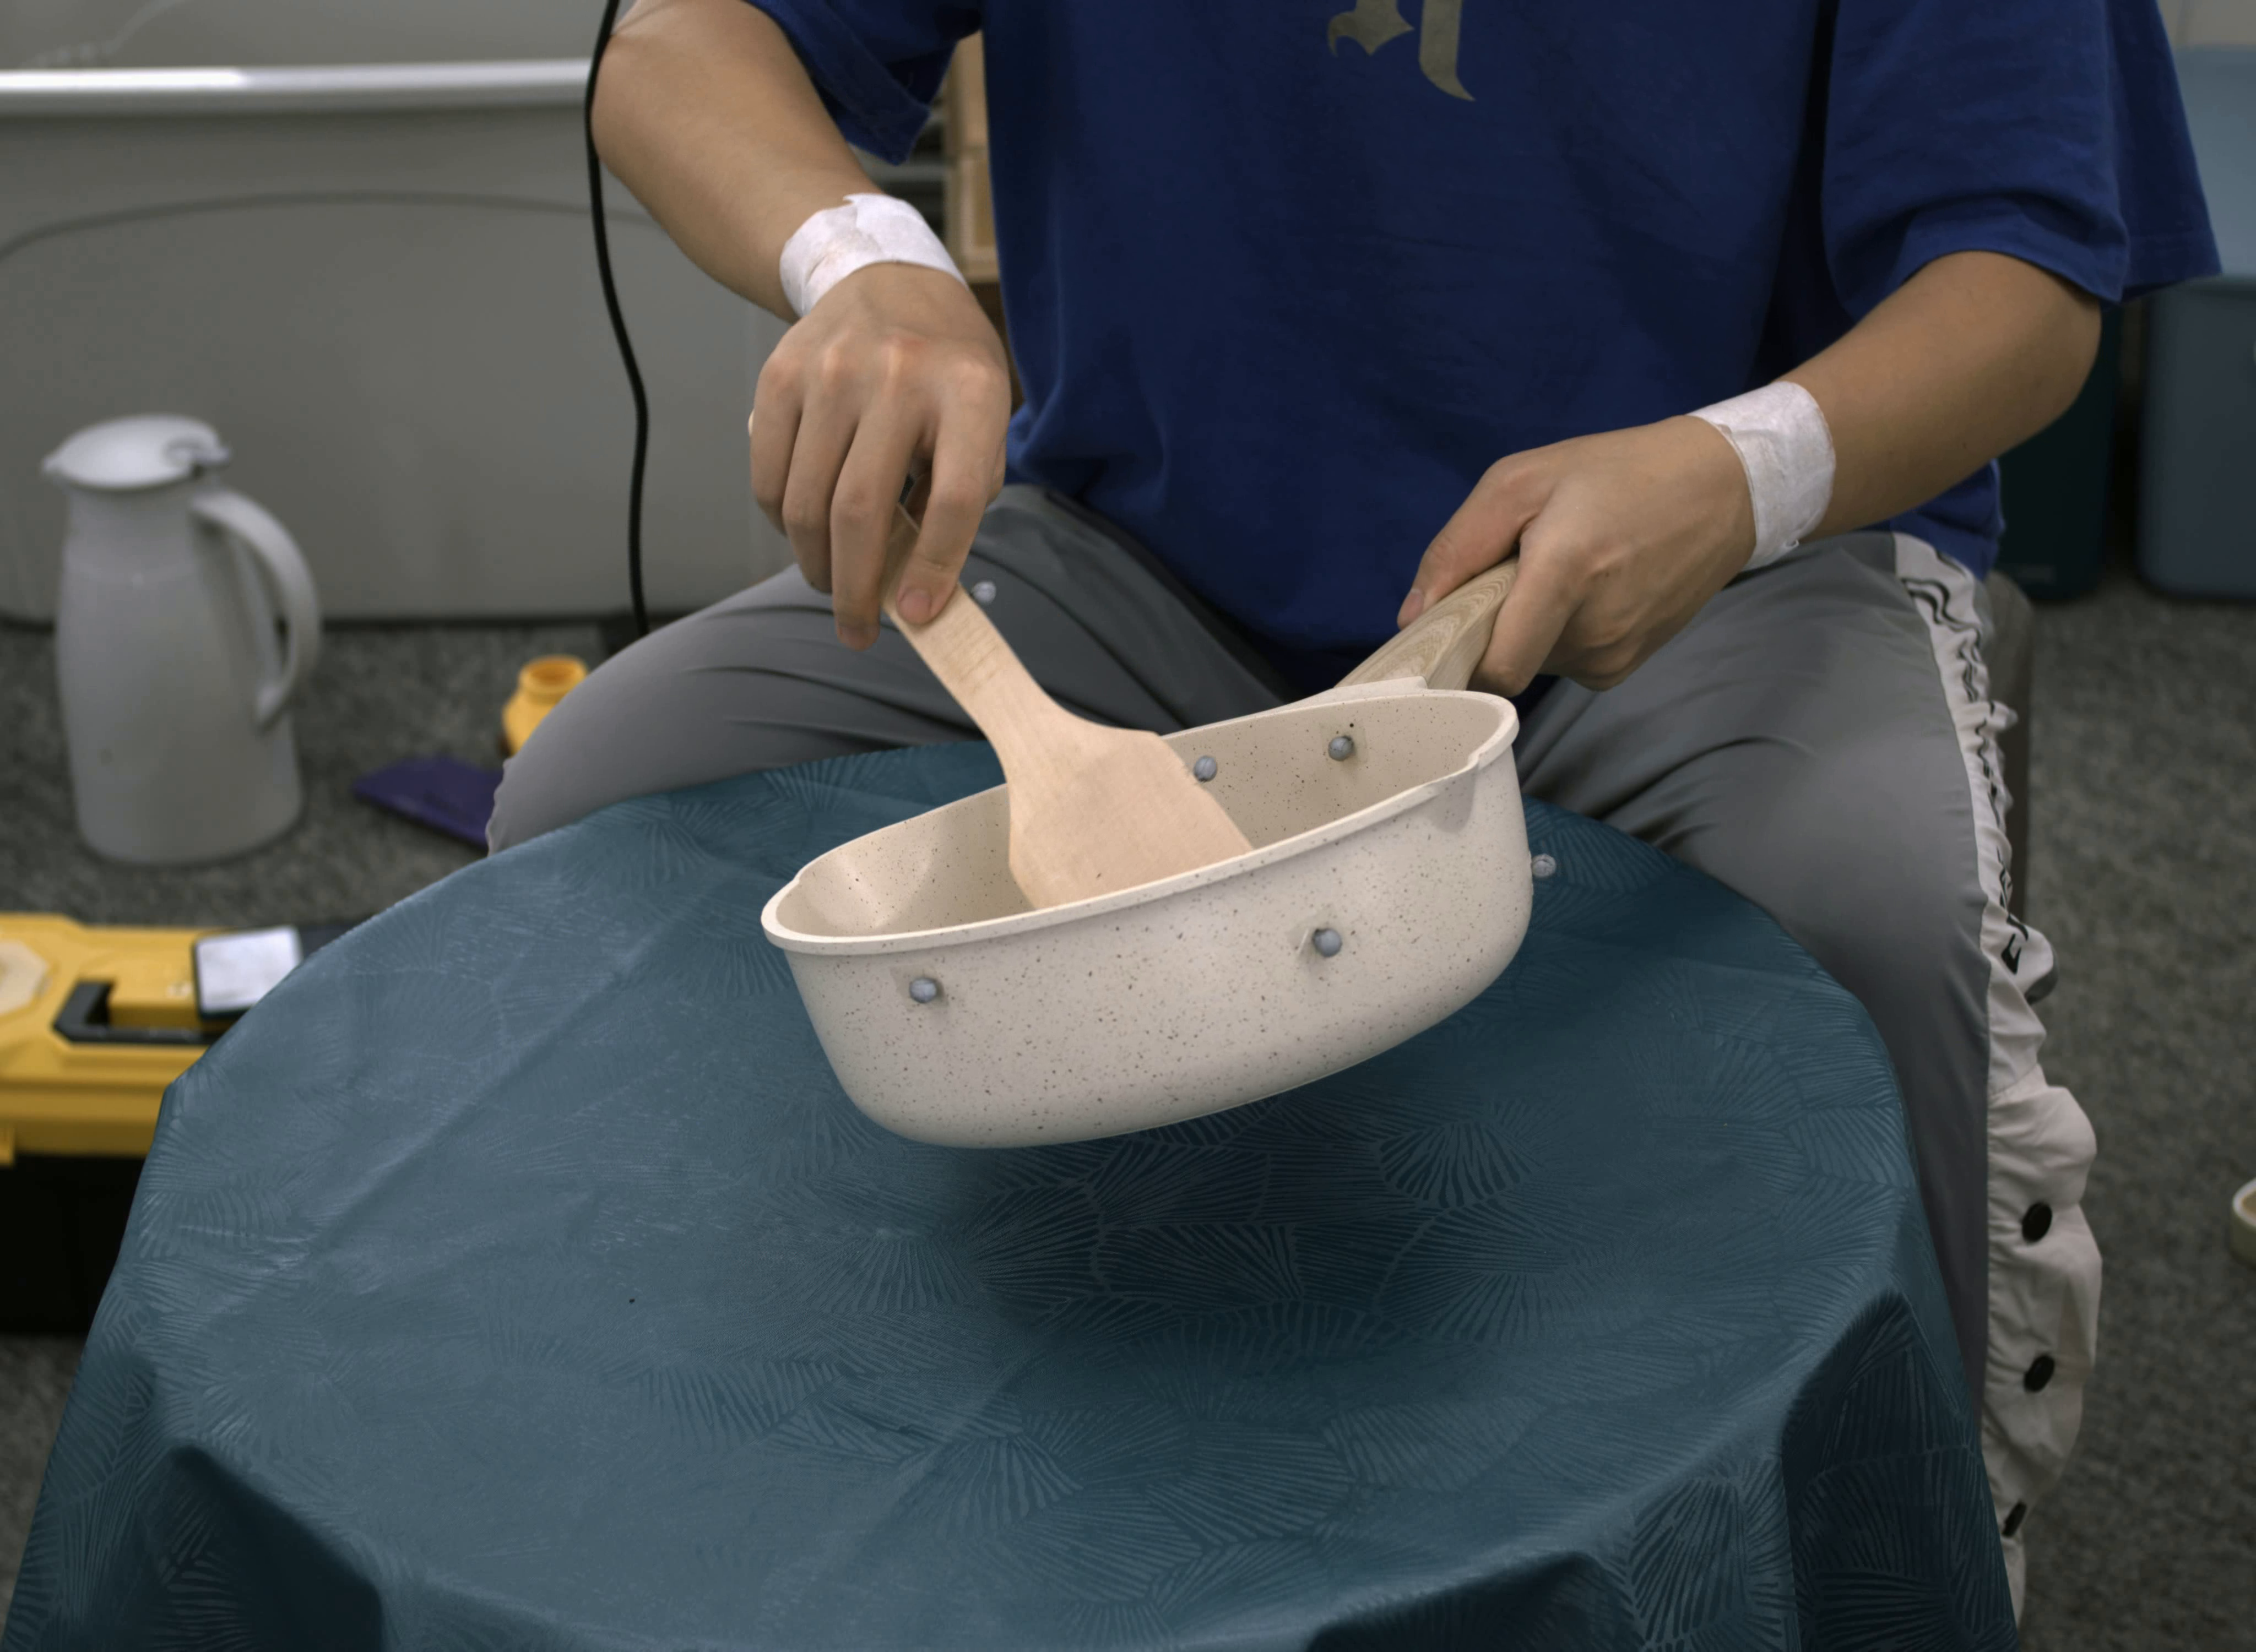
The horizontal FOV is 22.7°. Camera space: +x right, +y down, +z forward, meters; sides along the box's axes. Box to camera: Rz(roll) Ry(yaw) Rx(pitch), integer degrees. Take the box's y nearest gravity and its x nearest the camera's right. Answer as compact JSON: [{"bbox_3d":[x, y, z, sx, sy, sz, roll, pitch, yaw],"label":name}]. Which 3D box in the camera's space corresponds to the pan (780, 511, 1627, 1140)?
[{"bbox_3d":[0.067,-0.003,1.876,0.260,0.102,0.440,-11,10,37],"label":"pan"}]

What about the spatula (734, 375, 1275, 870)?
[{"bbox_3d":[-0.048,-0.060,1.897,0.072,0.010,0.295,-46,57,5],"label":"spatula"}]
